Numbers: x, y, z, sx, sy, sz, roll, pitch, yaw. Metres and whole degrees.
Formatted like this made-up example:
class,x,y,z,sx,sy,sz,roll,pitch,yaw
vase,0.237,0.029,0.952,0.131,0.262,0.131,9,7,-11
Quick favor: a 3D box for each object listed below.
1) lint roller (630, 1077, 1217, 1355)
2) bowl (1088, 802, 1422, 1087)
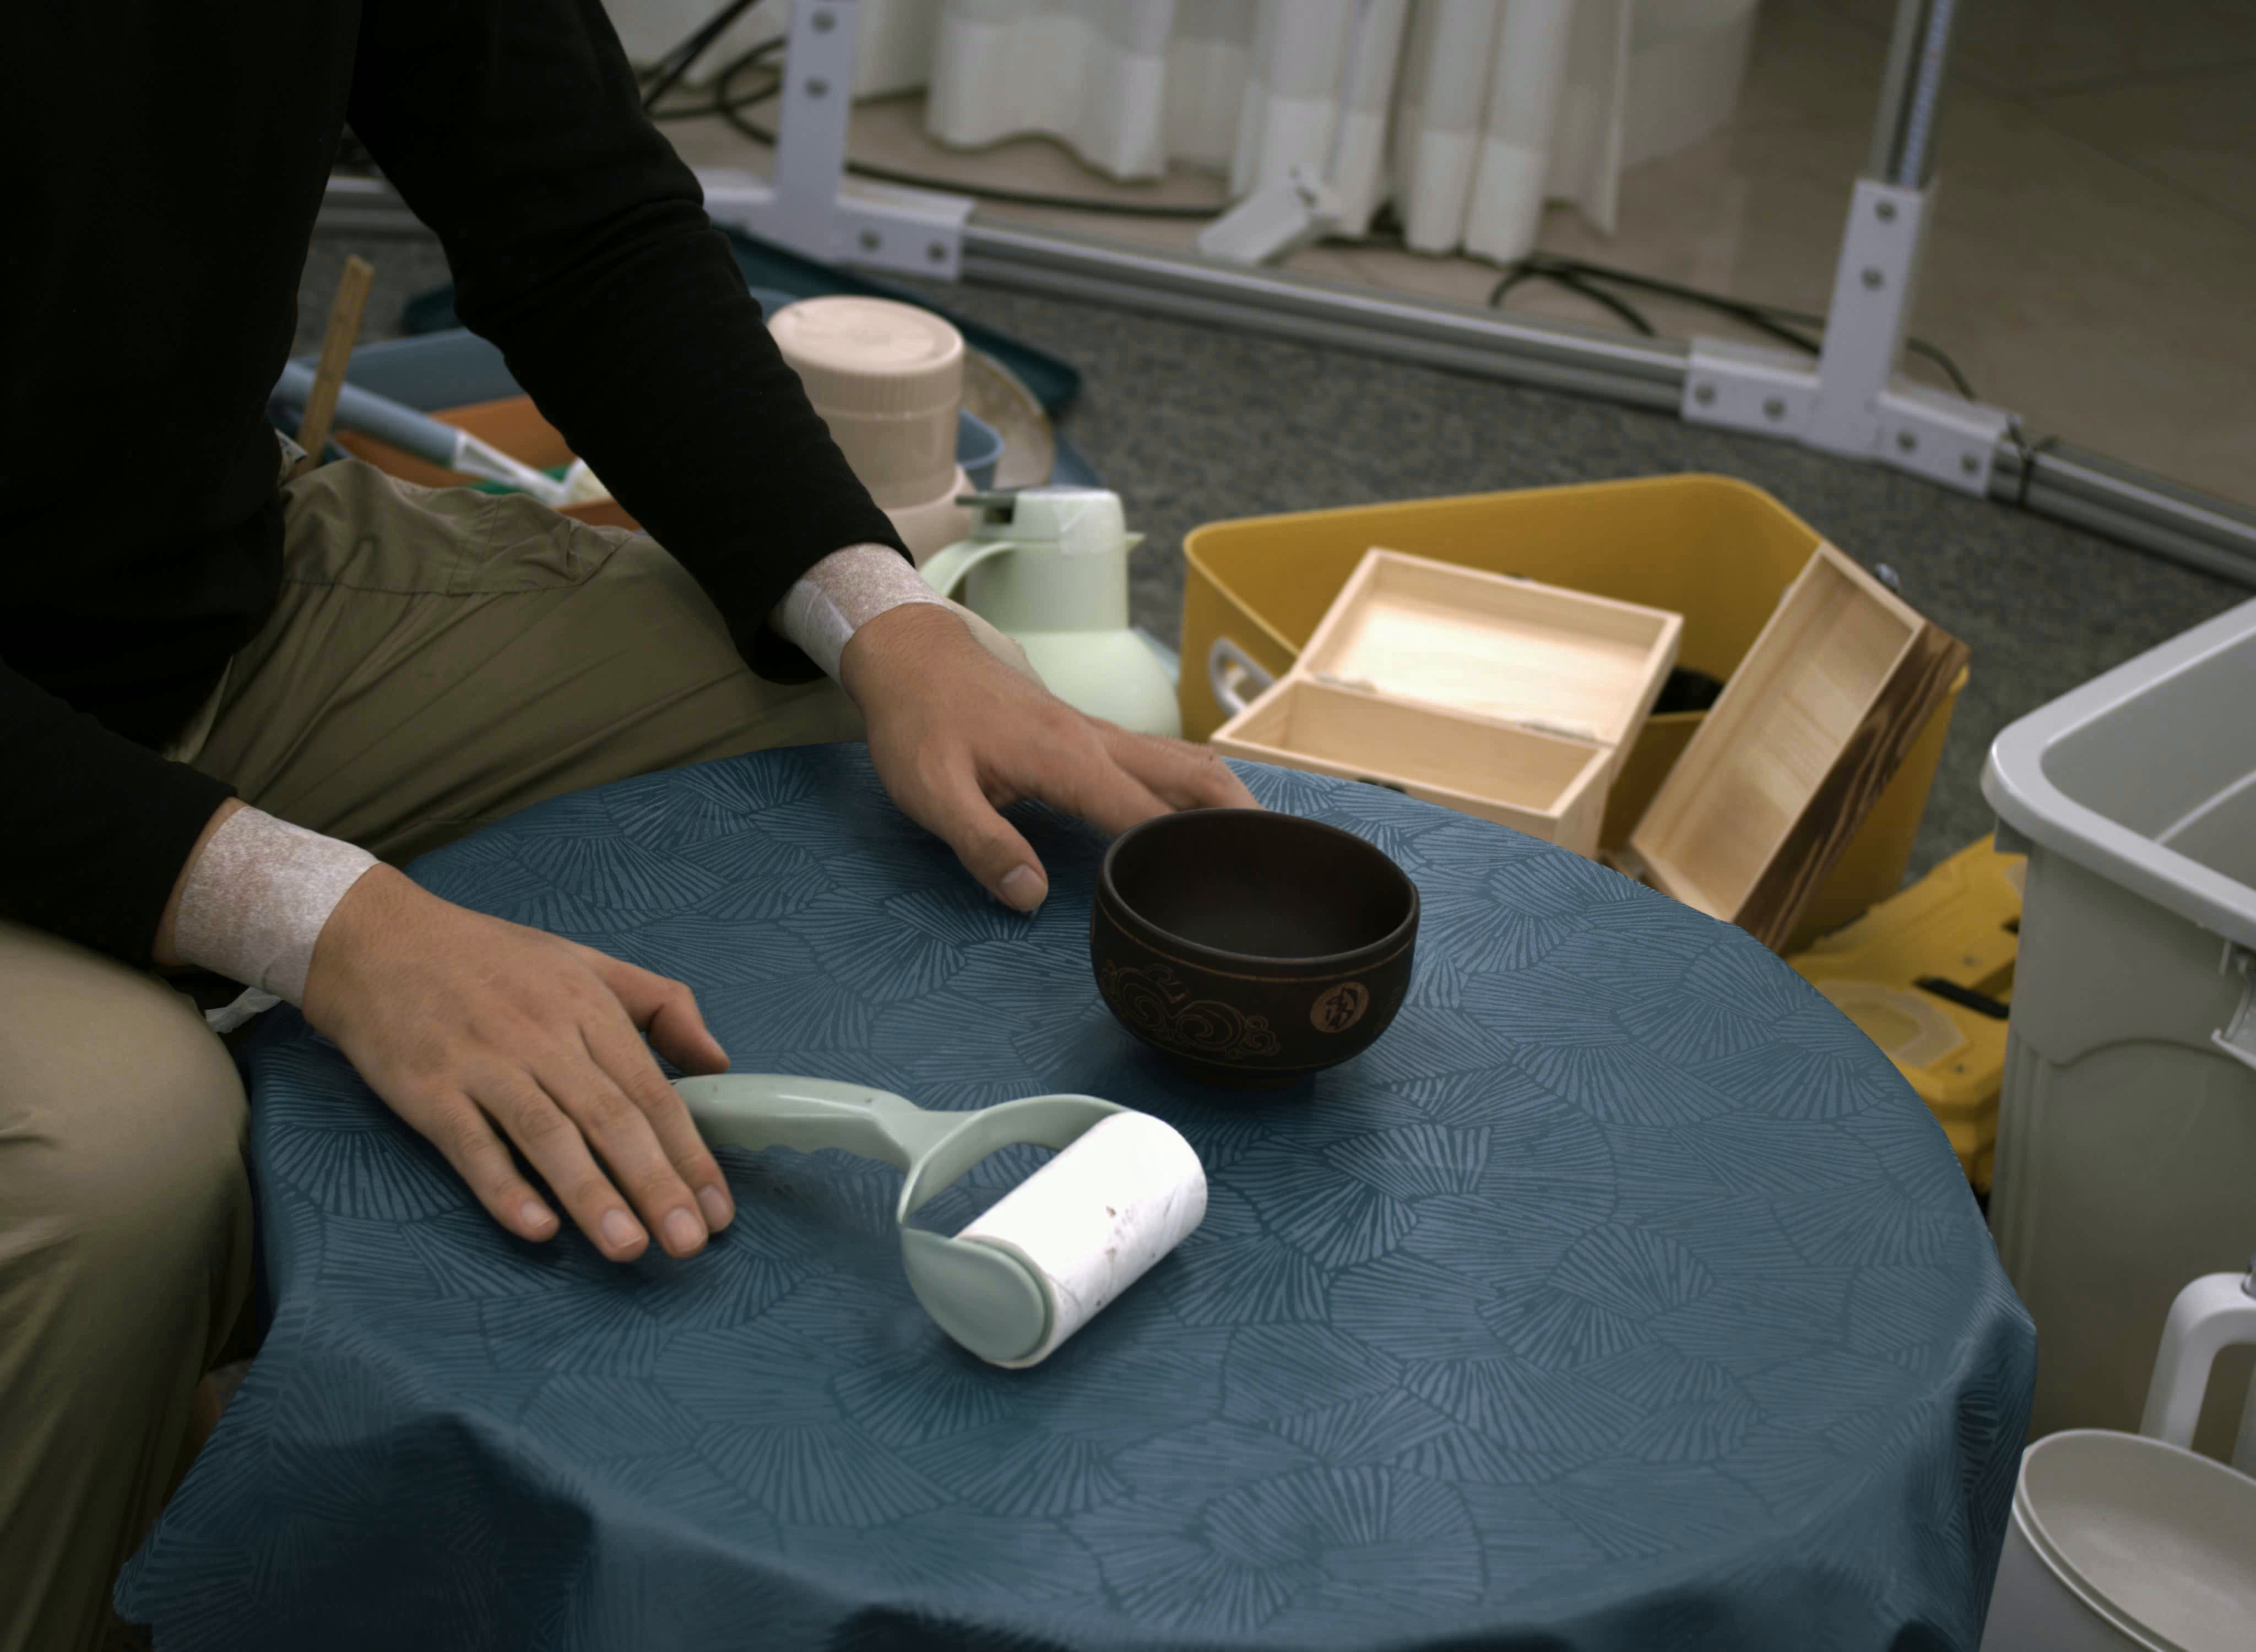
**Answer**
class,x,y,z,sx,sy,sz,roll,pitch,yaw
lint roller,-0.078,0.110,1.763,0.198,0.048,0.116,18,30,24
bowl,0.043,0.048,1.880,0.117,0.069,0.119,4,27,-2
